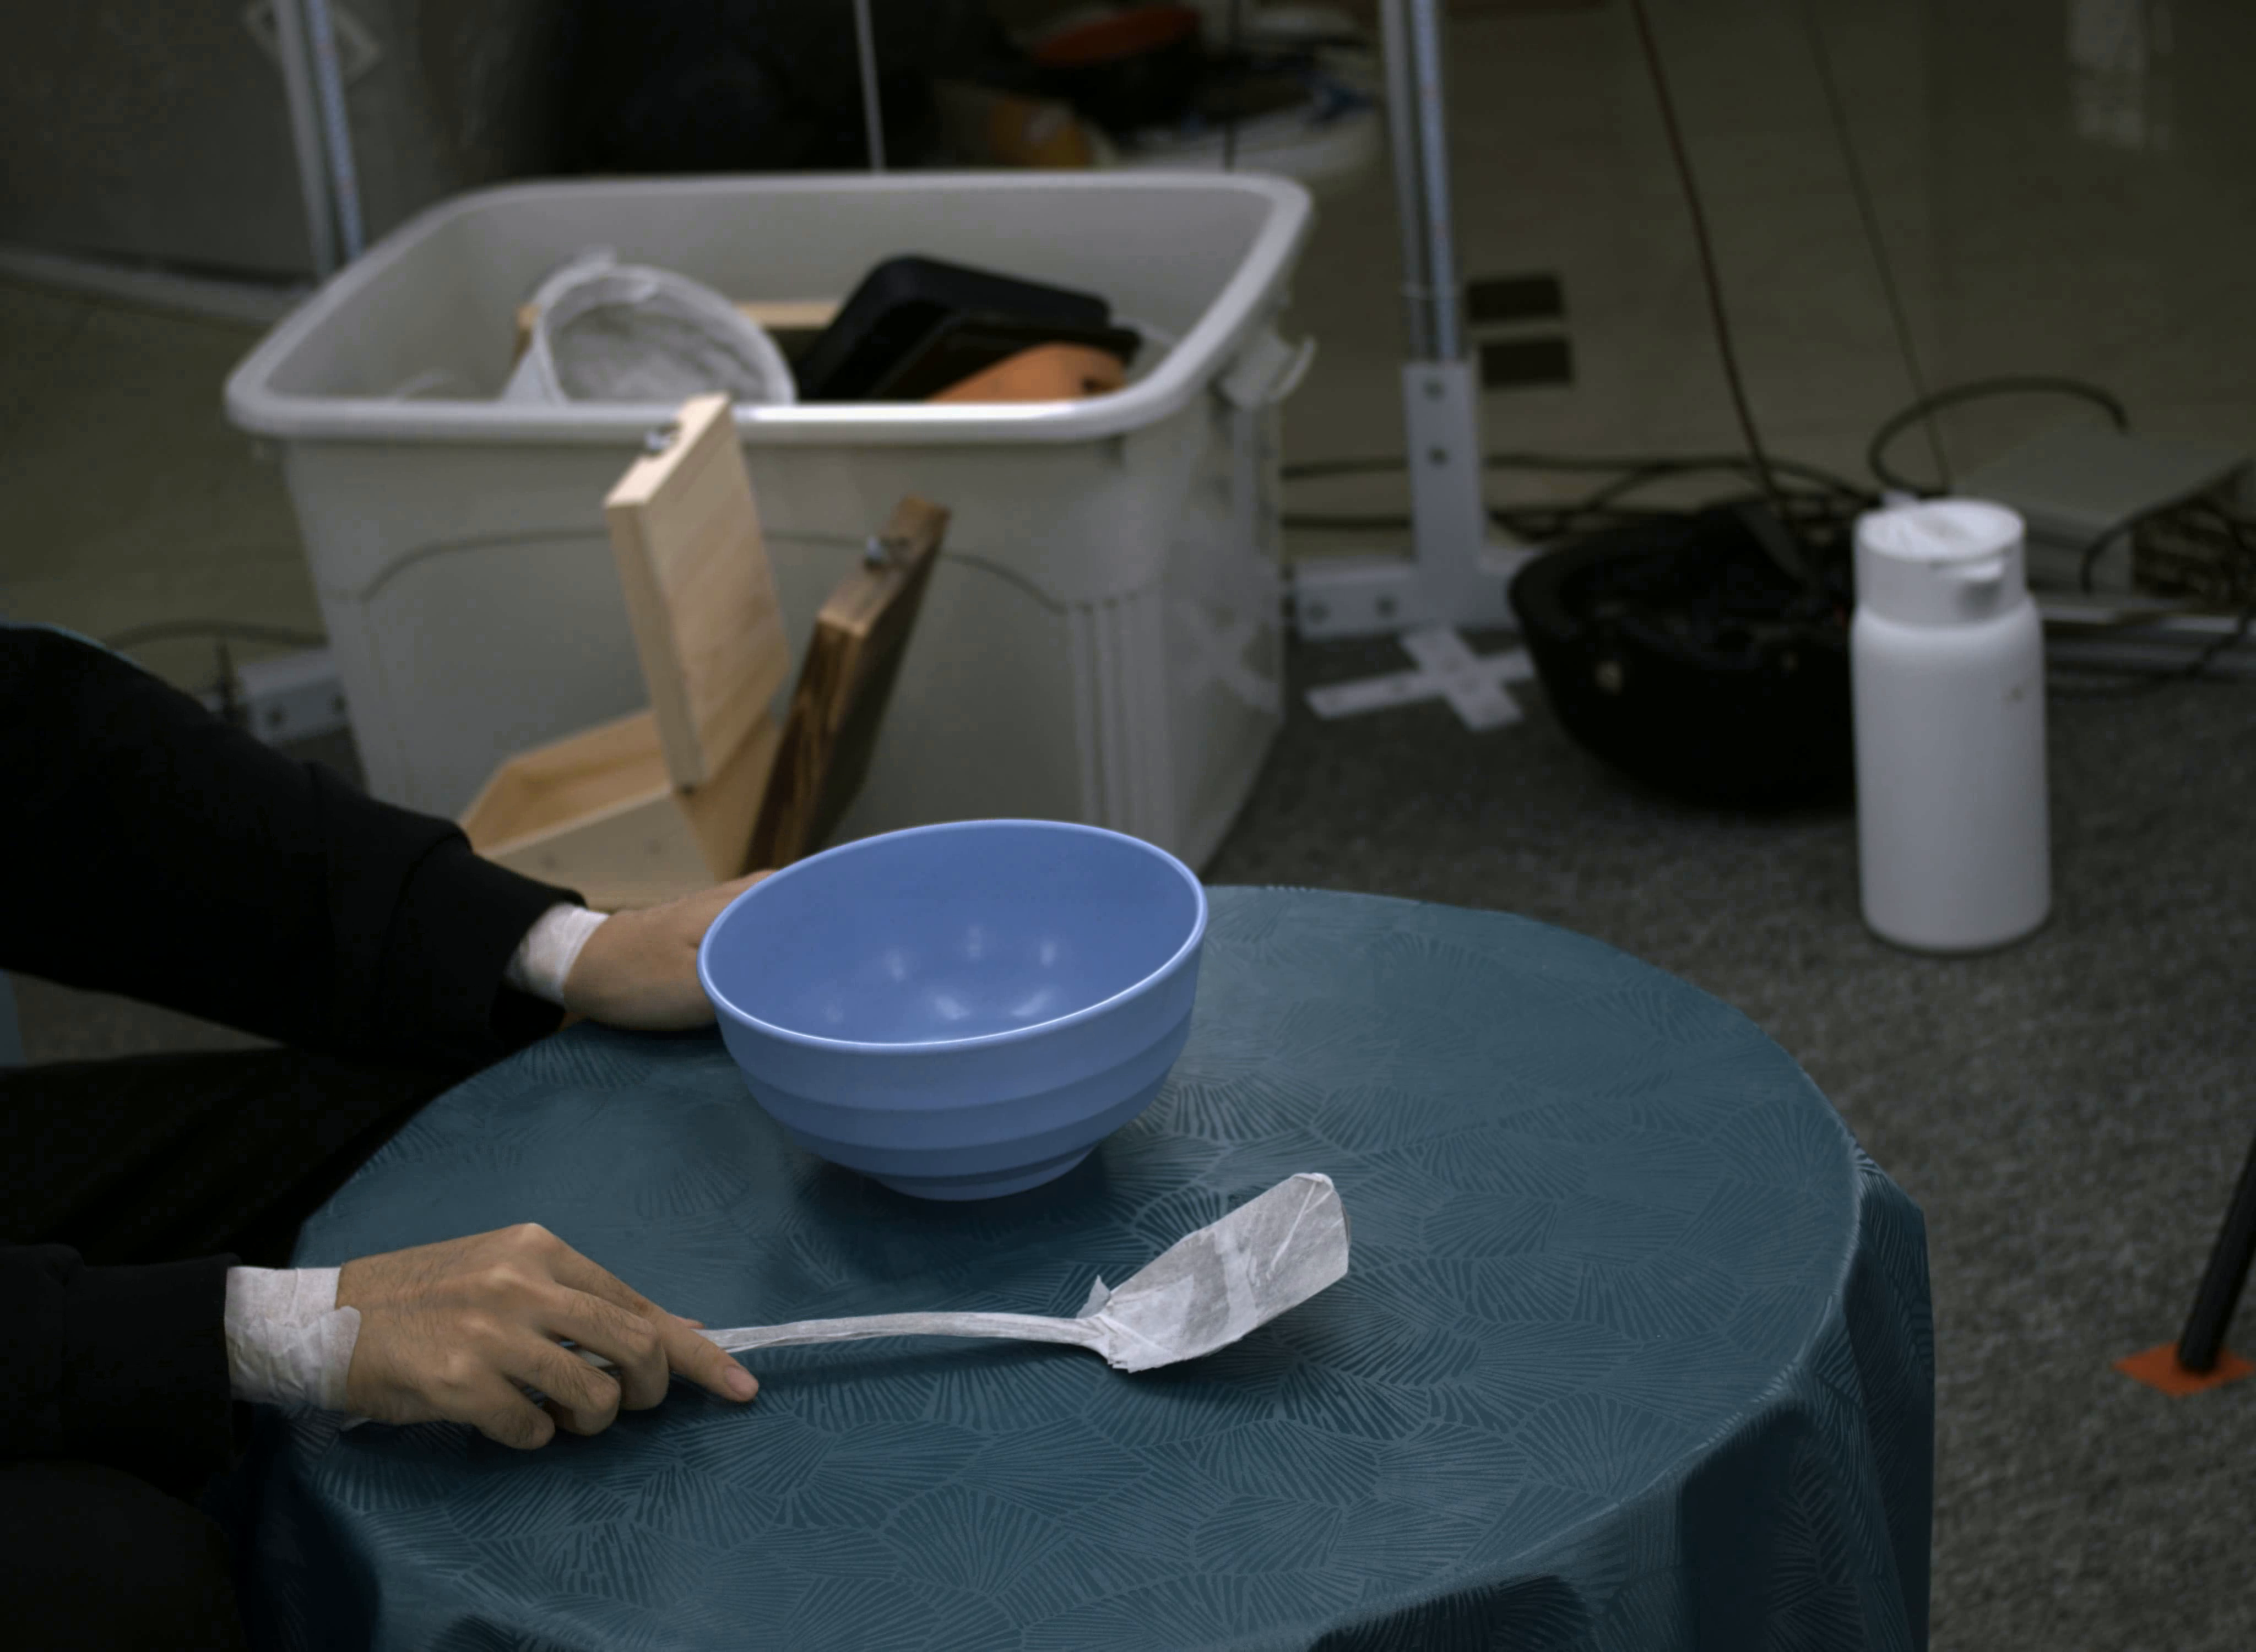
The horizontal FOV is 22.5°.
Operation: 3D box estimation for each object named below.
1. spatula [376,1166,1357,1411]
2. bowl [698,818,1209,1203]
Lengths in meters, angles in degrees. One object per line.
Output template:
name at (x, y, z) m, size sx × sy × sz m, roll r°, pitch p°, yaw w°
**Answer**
spatula at (-0.097, 0.177, 2.050) m, size 0.364 × 0.045 × 0.097 m, roll -5°, pitch 25°, yaw 2°
bowl at (-0.062, 0.082, 2.178) m, size 0.196 × 0.097 × 0.193 m, roll -5°, pitch 26°, yaw 3°
